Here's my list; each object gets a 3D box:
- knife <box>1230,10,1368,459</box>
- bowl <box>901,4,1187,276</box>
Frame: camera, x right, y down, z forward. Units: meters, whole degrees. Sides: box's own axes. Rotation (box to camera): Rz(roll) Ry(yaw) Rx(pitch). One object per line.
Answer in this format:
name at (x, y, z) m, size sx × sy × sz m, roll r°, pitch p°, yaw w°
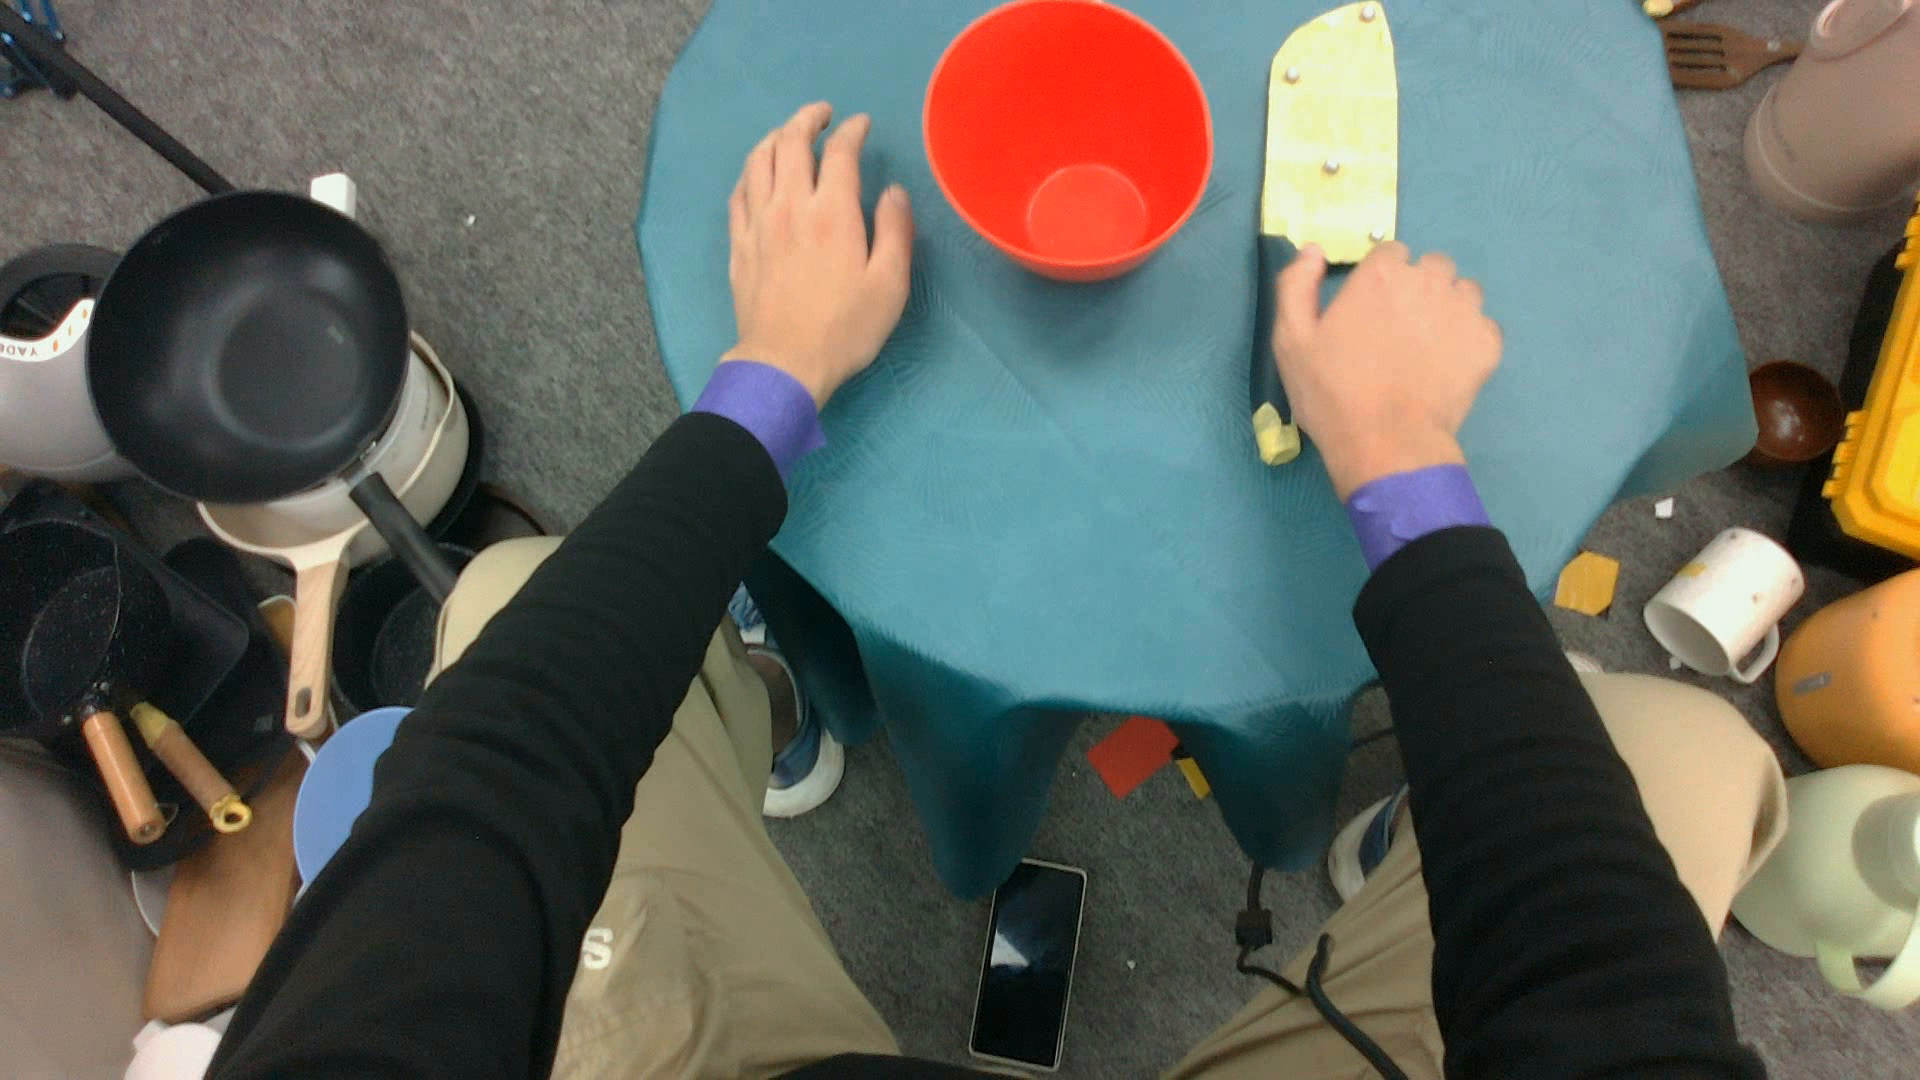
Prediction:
knife at (0.190, -0.180, 0.780) m, size 0.081 × 0.027 × 0.290 m, roll 7°, pitch 73°, yaw 6°
bowl at (0.046, -0.201, 0.749) m, size 0.148 × 0.104 × 0.148 m, roll -1°, pitch 73°, yaw 2°
